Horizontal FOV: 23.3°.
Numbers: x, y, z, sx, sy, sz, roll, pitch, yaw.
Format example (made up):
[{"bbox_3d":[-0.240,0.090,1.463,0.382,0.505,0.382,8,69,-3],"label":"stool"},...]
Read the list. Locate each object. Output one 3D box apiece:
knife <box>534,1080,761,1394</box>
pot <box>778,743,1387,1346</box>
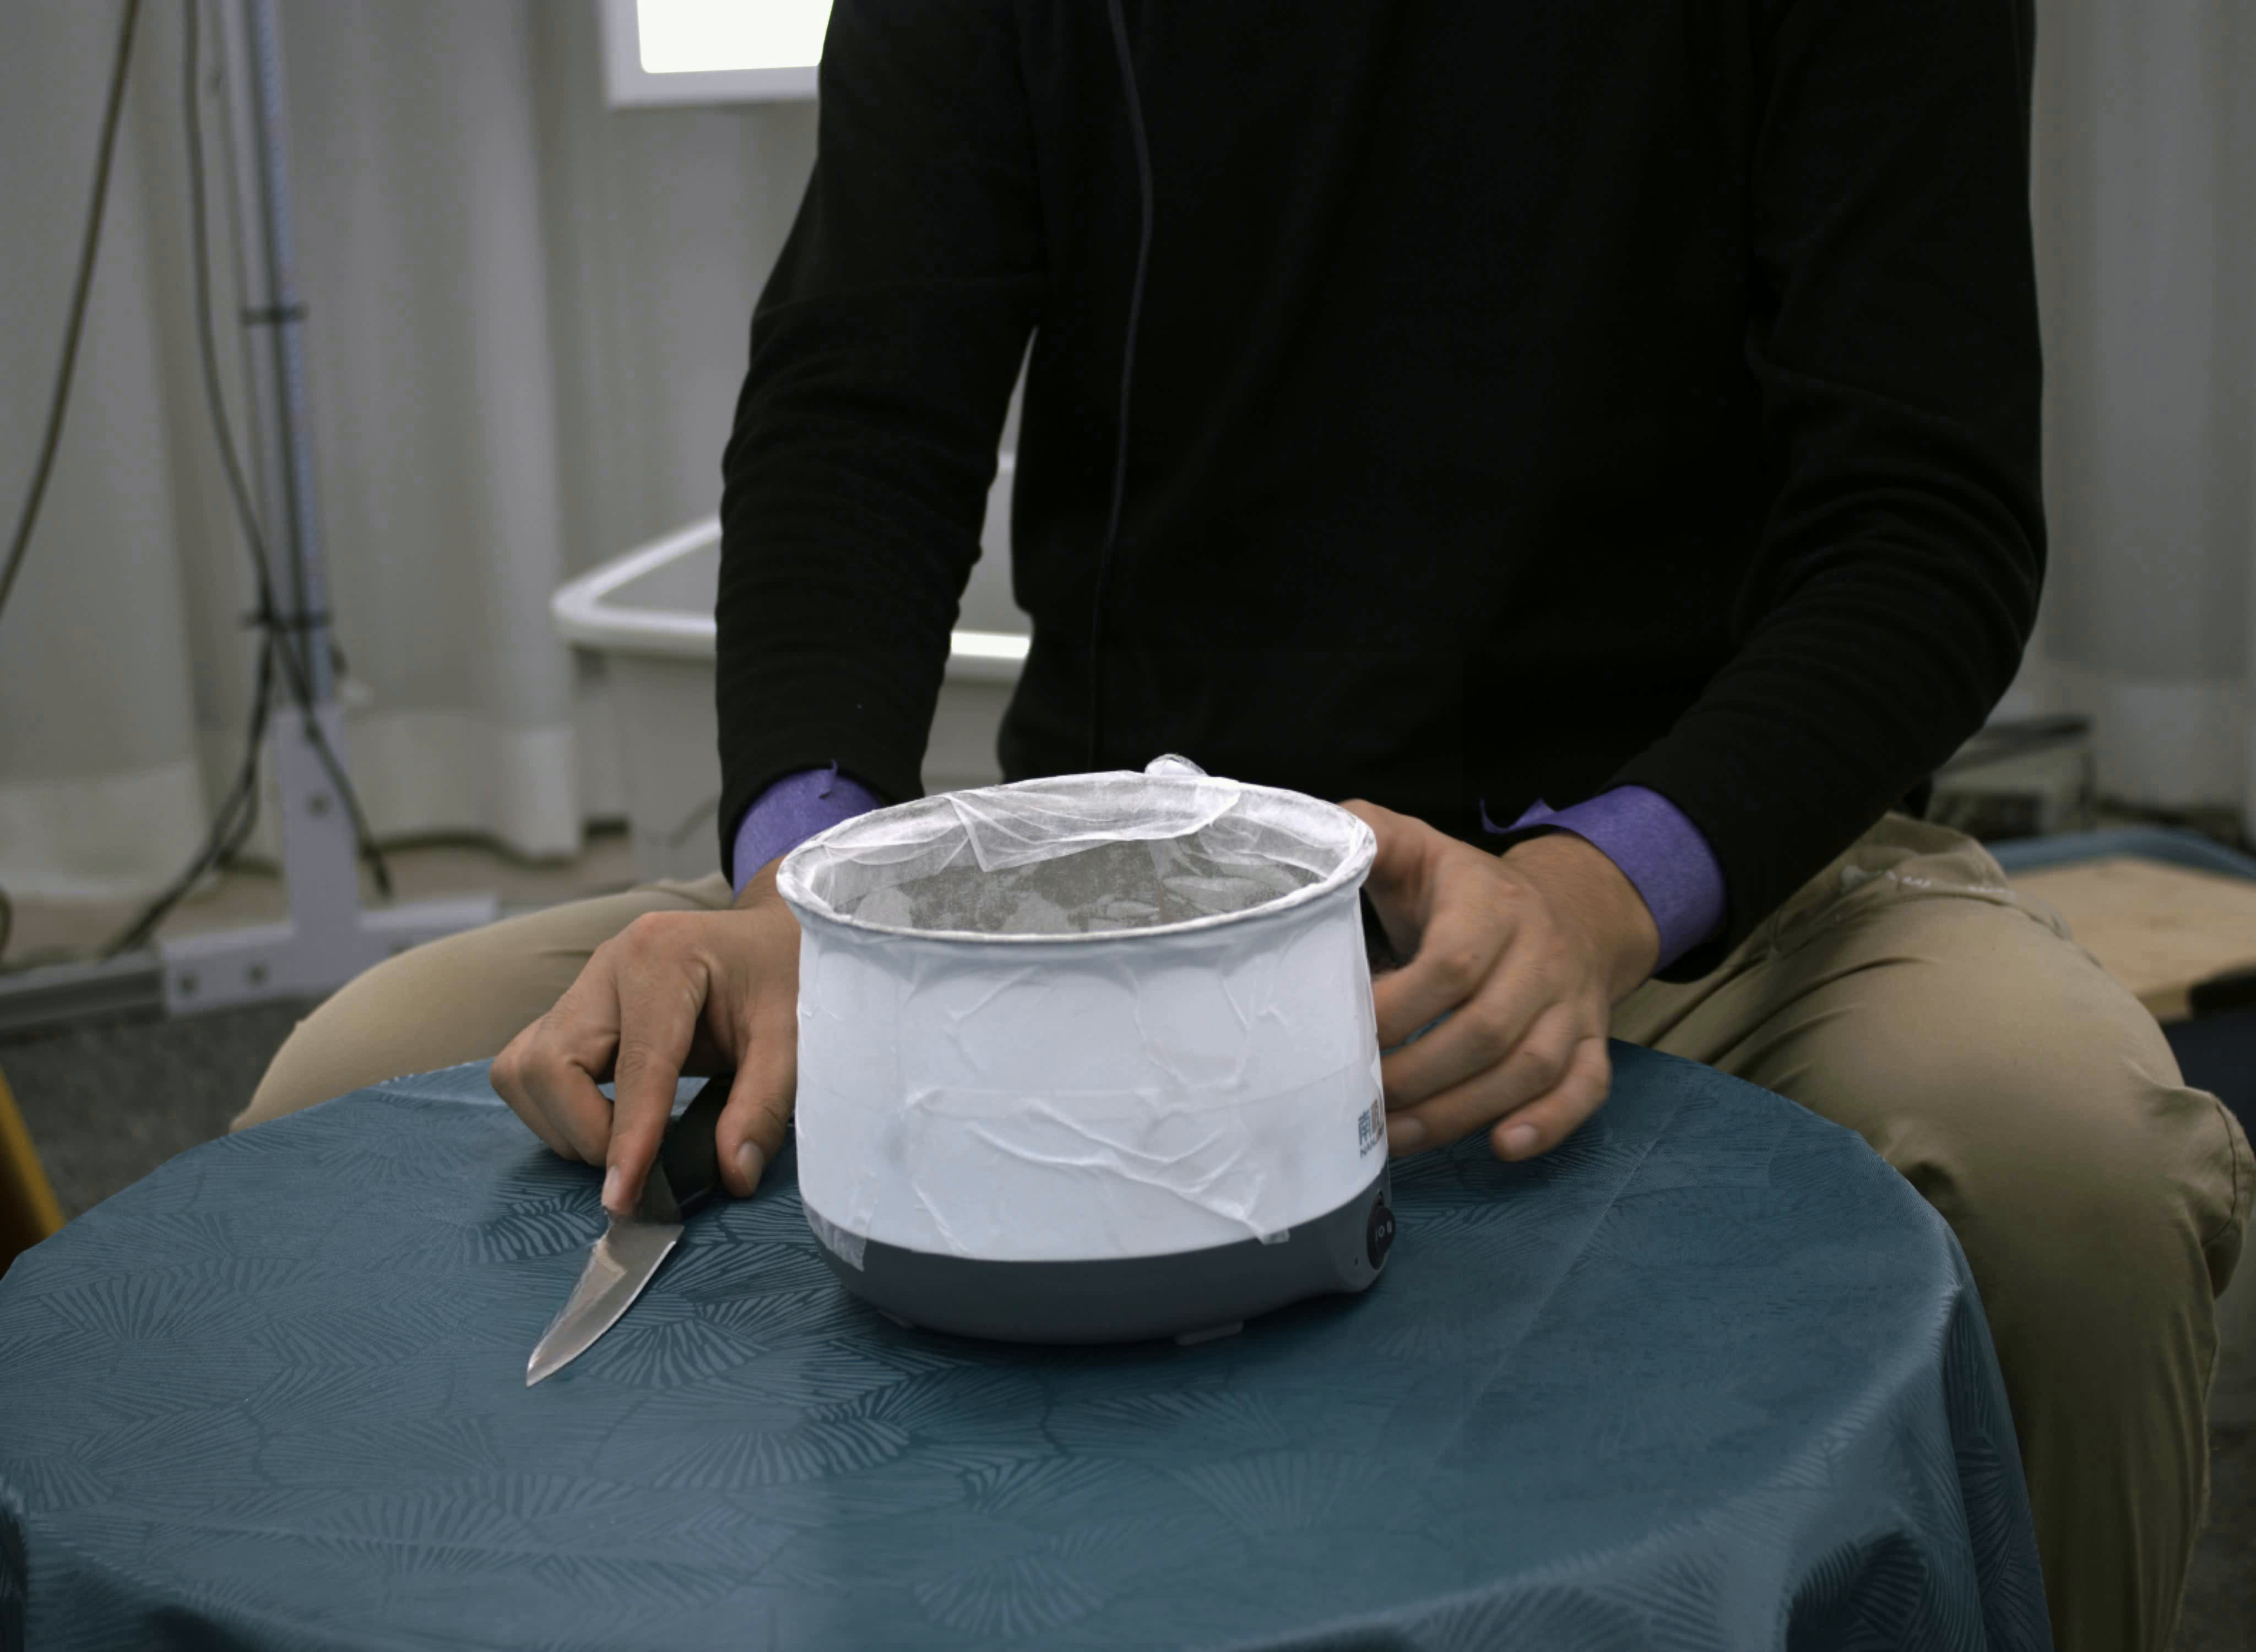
[{"bbox_3d":[-0.150,0.125,1.682,0.024,0.016,0.239,12,20,7],"label":"knife"},{"bbox_3d":[-0.005,0.060,1.649,0.178,0.136,0.235,2,16,16],"label":"pot"}]
